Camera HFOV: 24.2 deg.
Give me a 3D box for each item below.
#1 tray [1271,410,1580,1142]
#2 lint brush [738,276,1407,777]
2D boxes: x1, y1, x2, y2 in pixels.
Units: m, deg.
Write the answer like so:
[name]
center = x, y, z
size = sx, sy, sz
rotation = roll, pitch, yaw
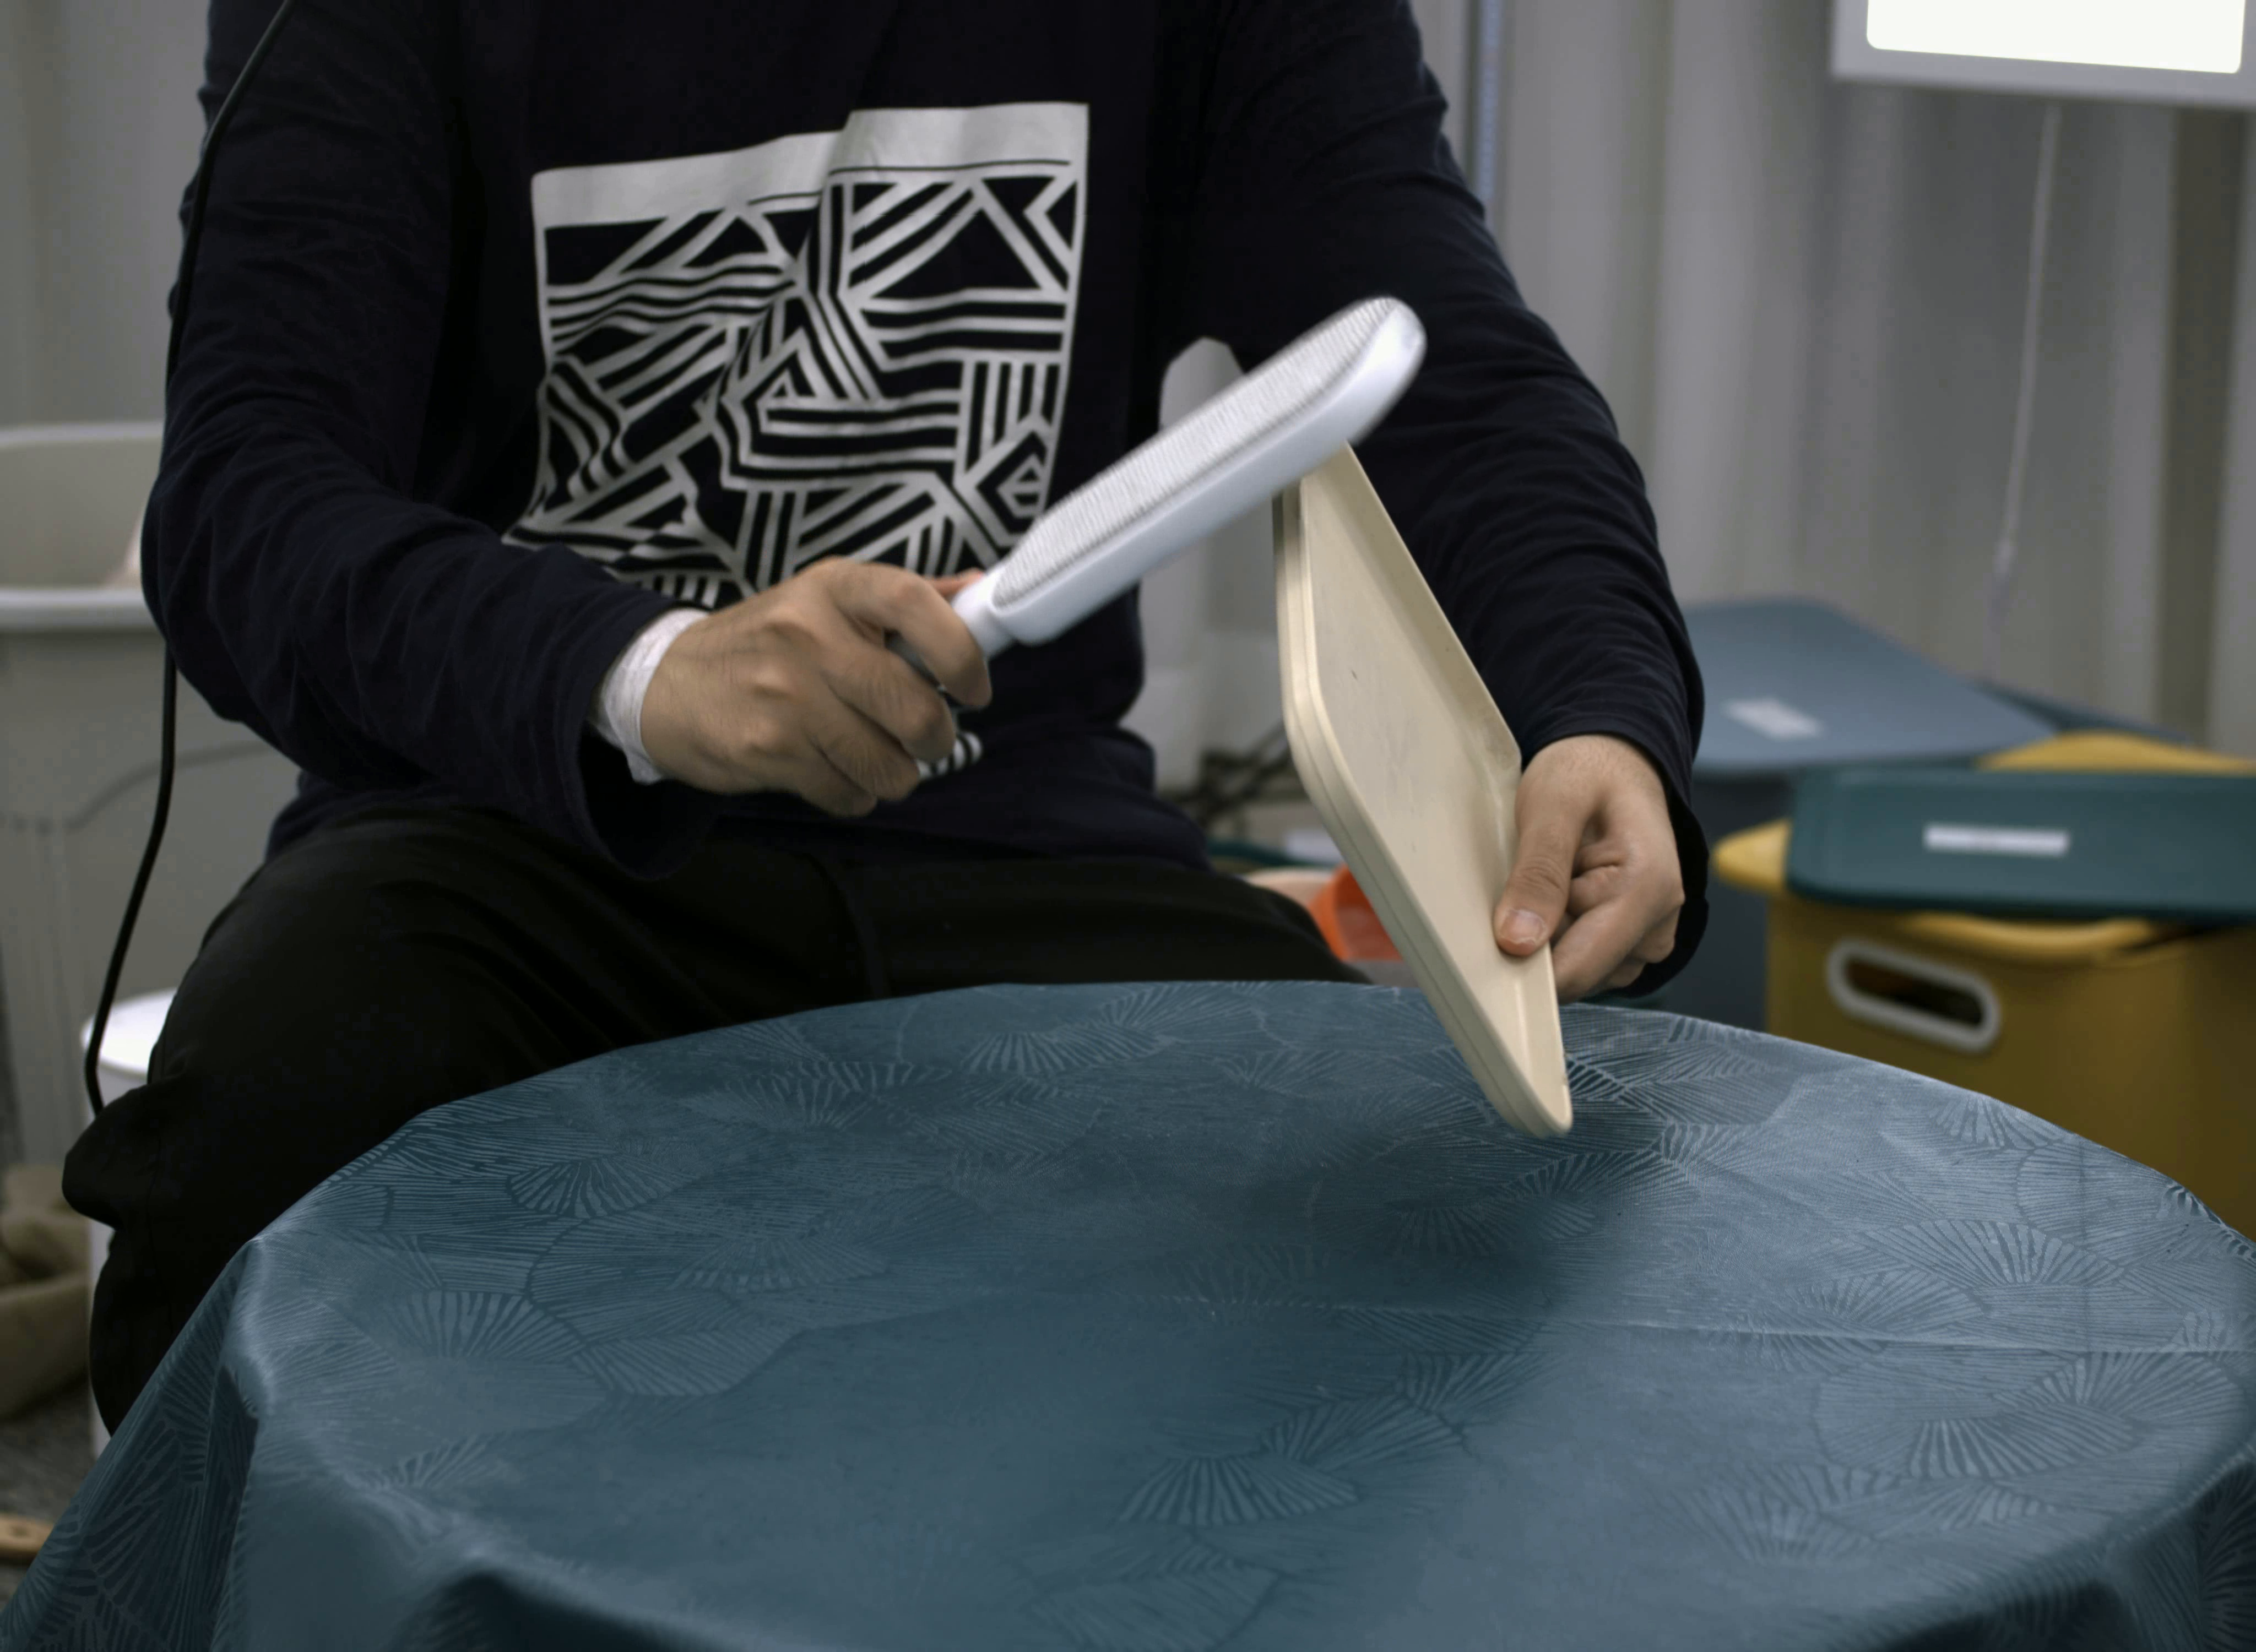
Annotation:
[tray]
center = 0.087, -0.020, 1.599
size = 0.017, 0.173, 0.237
rotation = -24, 29, 14
[lint brush]
center = -0.023, -0.086, 1.618
size = 0.308, 0.021, 0.060
rotation = -32, 29, 40
